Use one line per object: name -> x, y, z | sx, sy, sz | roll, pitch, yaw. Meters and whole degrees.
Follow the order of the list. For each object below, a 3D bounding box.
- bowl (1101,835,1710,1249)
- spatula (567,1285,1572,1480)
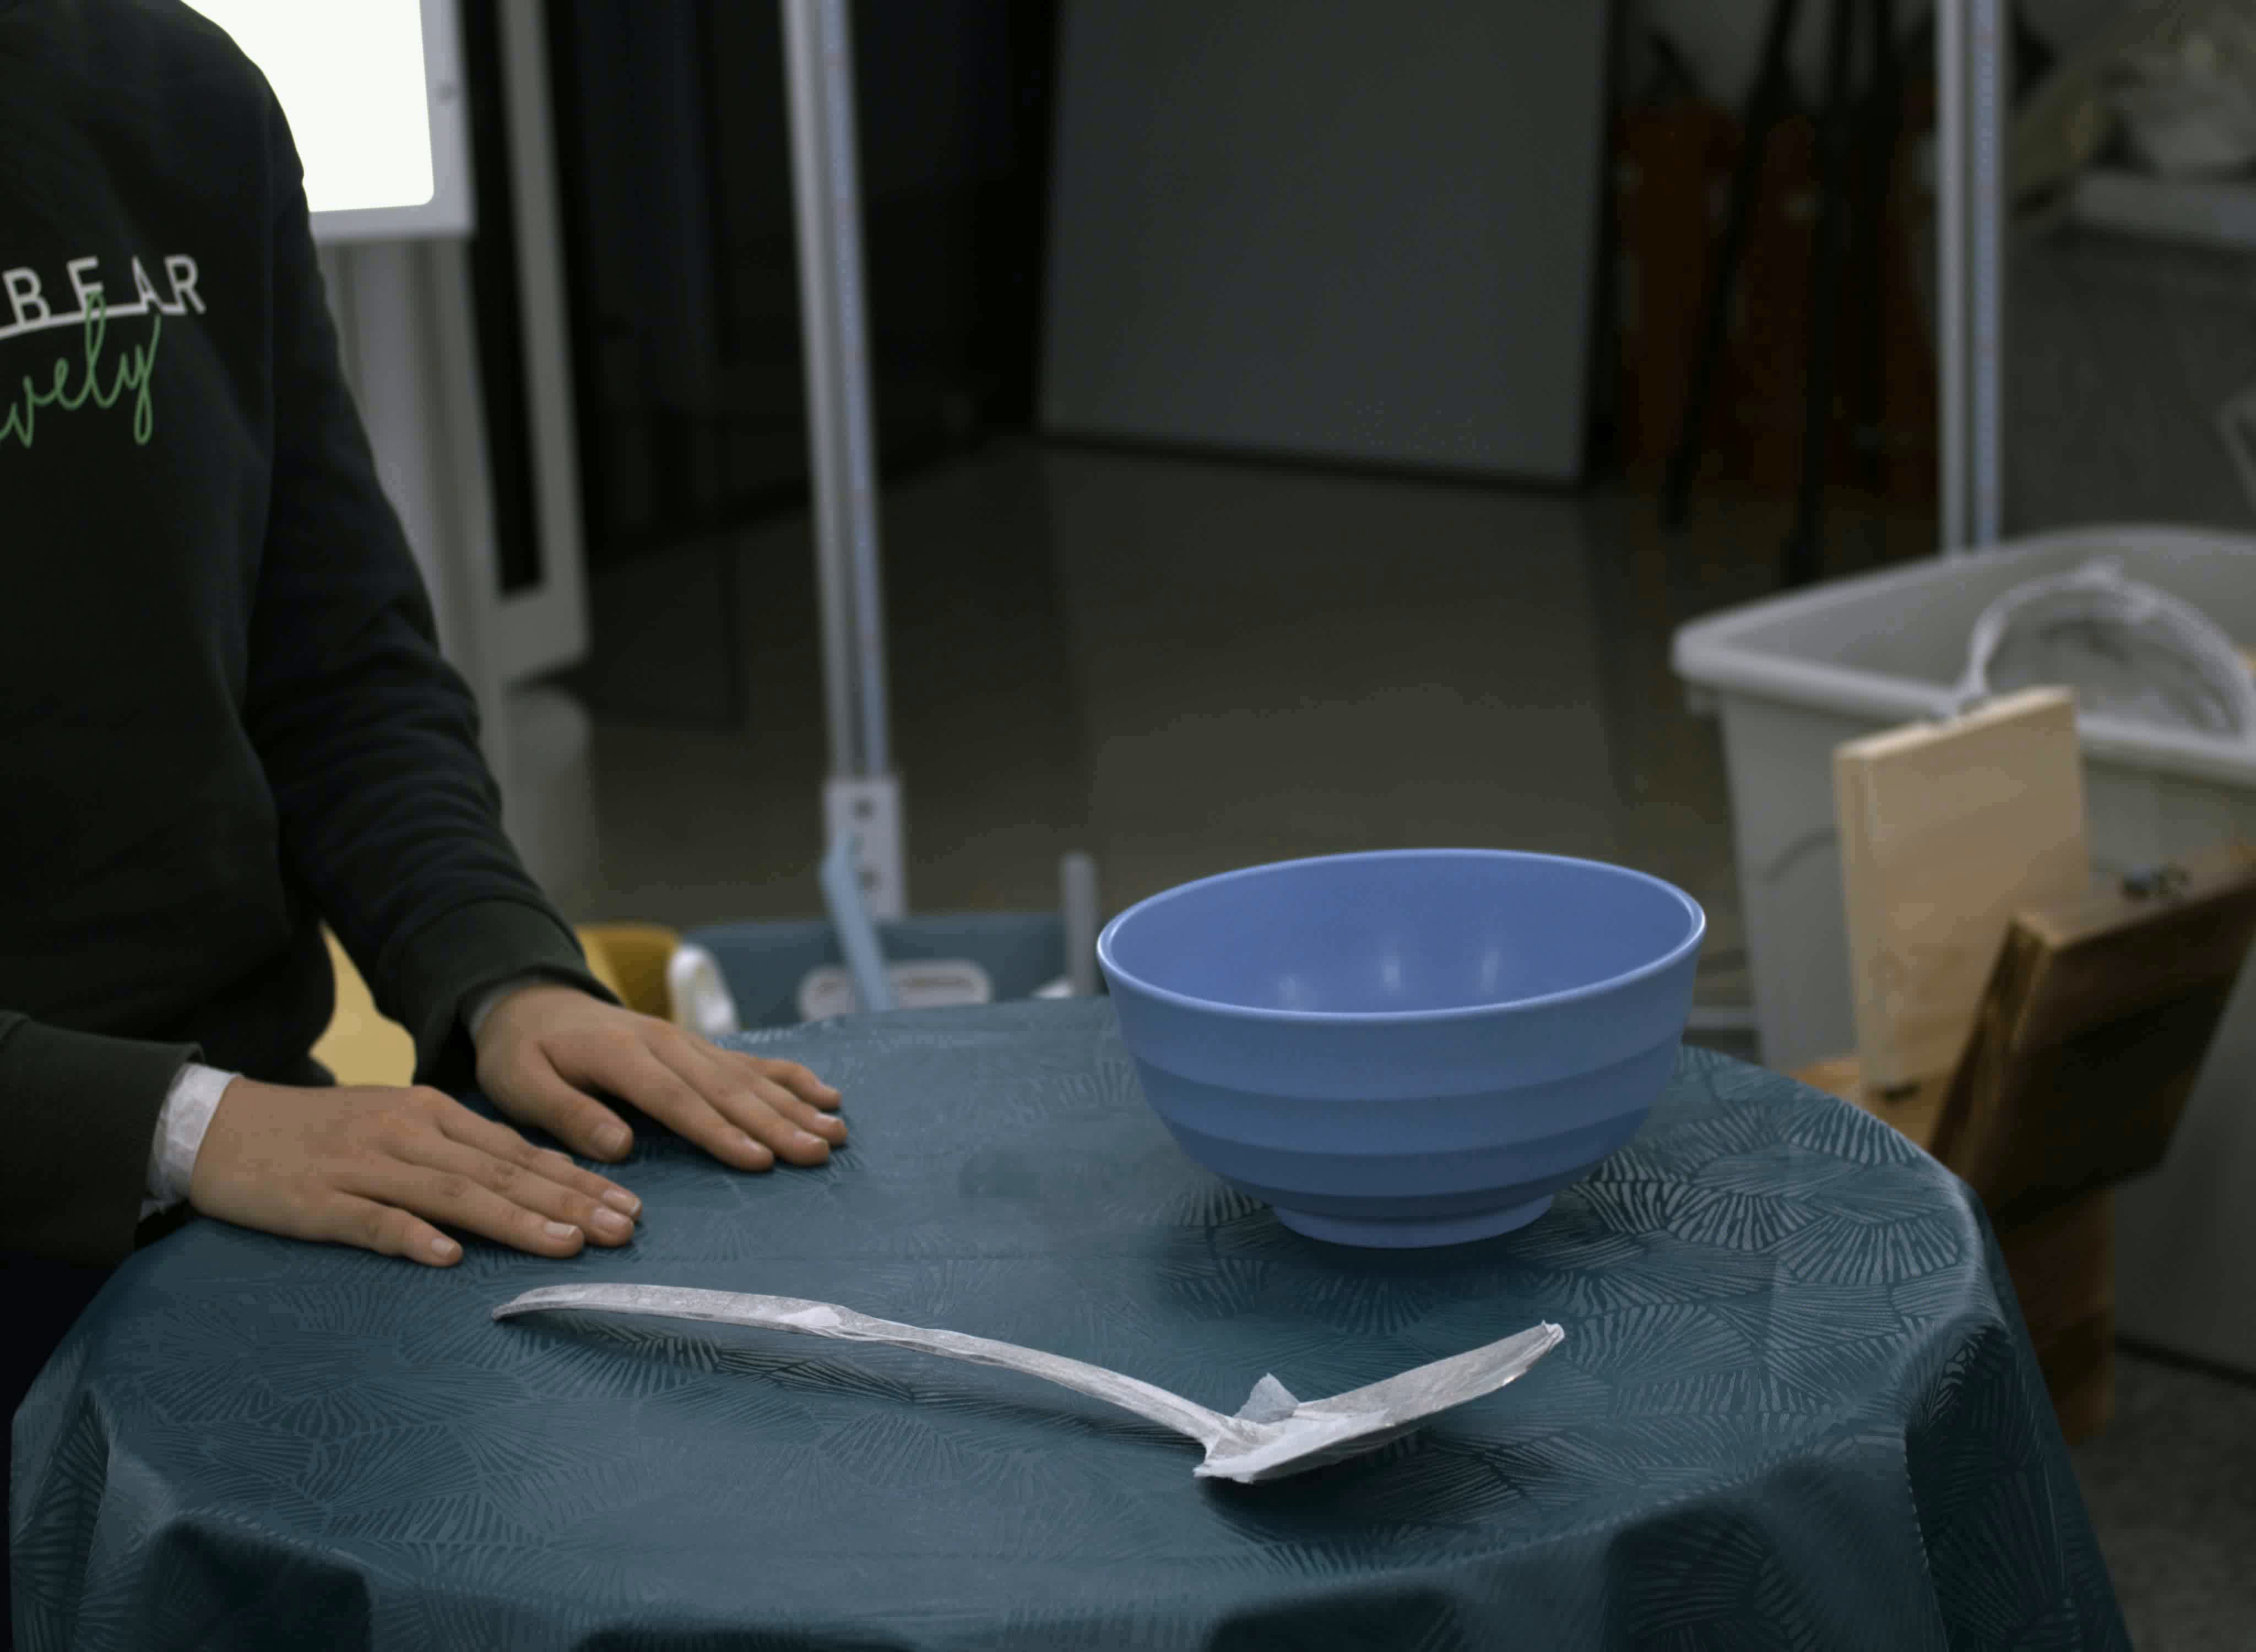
bowl -> 0.090, 0.075, 1.727 | 0.194, 0.096, 0.197 | -3, 15, 0
spatula -> -0.037, 0.151, 1.582 | 0.367, 0.045, 0.097 | 7, 19, 36
